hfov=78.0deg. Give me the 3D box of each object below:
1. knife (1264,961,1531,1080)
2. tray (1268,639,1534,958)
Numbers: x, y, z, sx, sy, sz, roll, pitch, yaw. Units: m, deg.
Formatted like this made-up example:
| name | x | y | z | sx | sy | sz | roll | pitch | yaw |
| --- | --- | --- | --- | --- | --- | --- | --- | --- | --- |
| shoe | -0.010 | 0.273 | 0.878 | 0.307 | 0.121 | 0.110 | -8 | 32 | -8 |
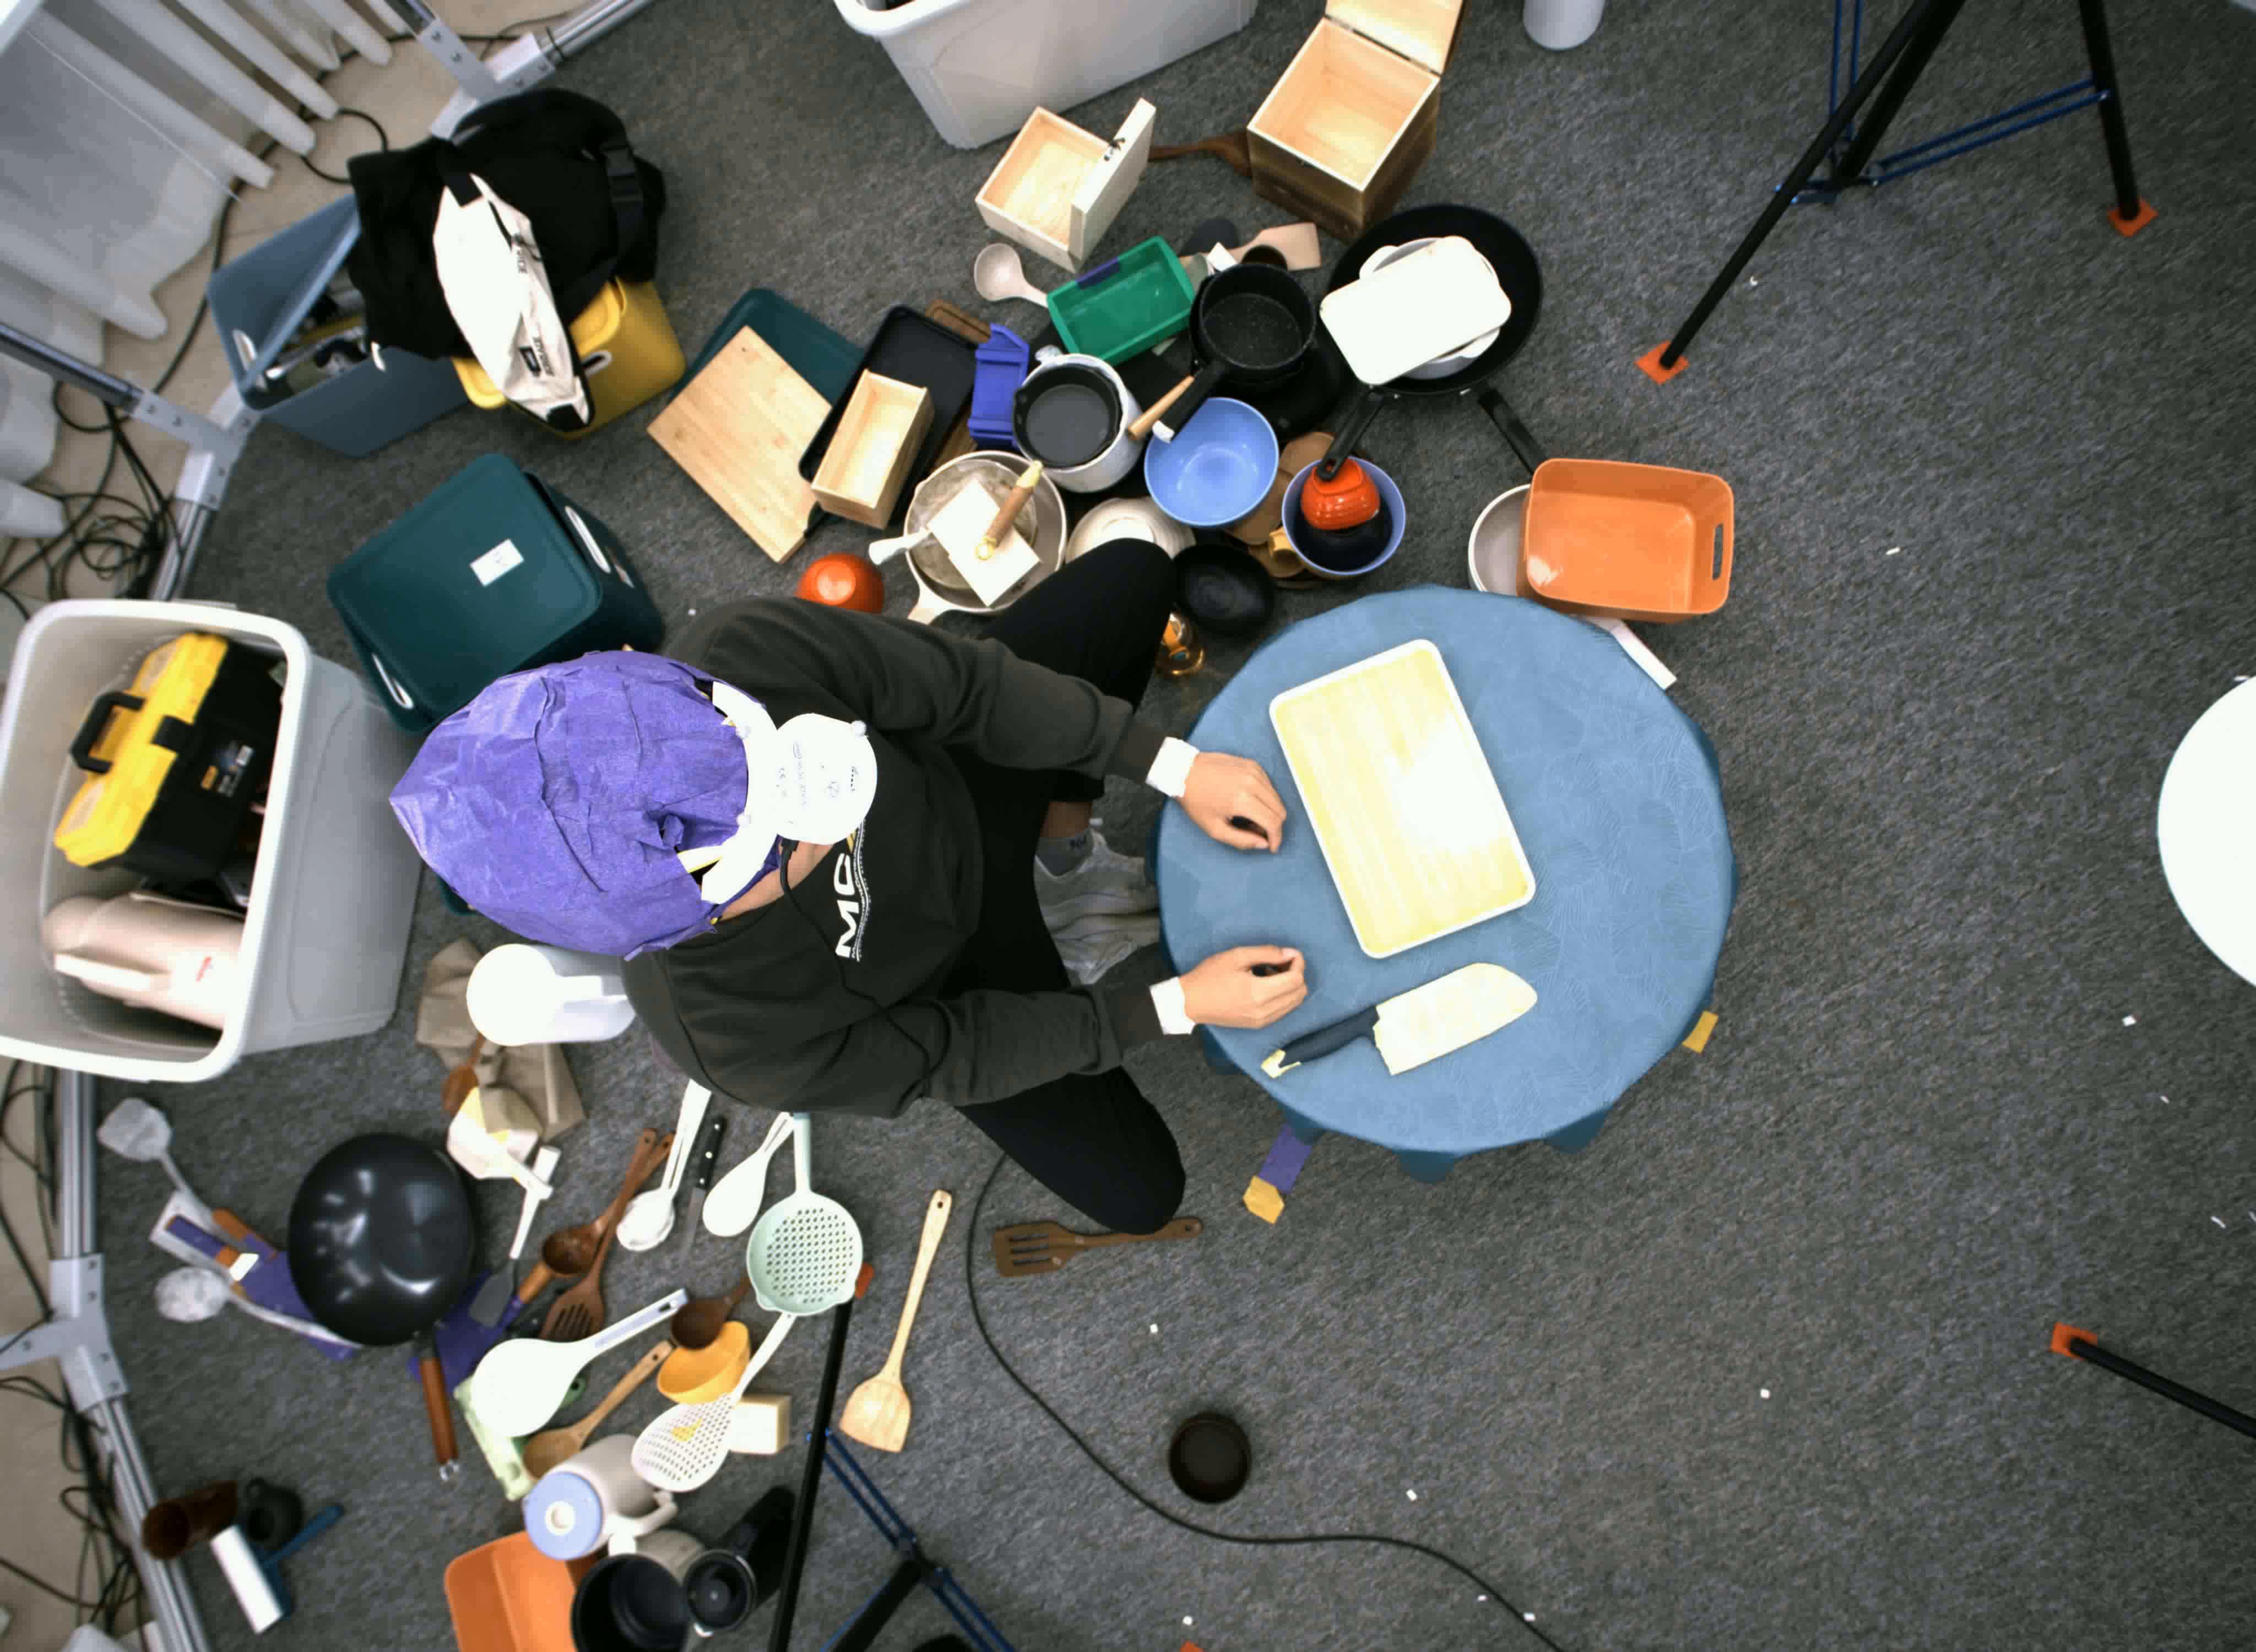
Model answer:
| name | x | y | z | sx | sy | sz | roll | pitch | yaw |
| --- | --- | --- | --- | --- | --- | --- | --- | --- | --- |
| knife | 0.282 | 0.213 | 1.442 | 0.291 | 0.027 | 0.080 | -22 | 81 | 8 |
| tray | 0.285 | -0.031 | 1.449 | 0.193 | 0.027 | 0.298 | -22 | 83 | 10 |
